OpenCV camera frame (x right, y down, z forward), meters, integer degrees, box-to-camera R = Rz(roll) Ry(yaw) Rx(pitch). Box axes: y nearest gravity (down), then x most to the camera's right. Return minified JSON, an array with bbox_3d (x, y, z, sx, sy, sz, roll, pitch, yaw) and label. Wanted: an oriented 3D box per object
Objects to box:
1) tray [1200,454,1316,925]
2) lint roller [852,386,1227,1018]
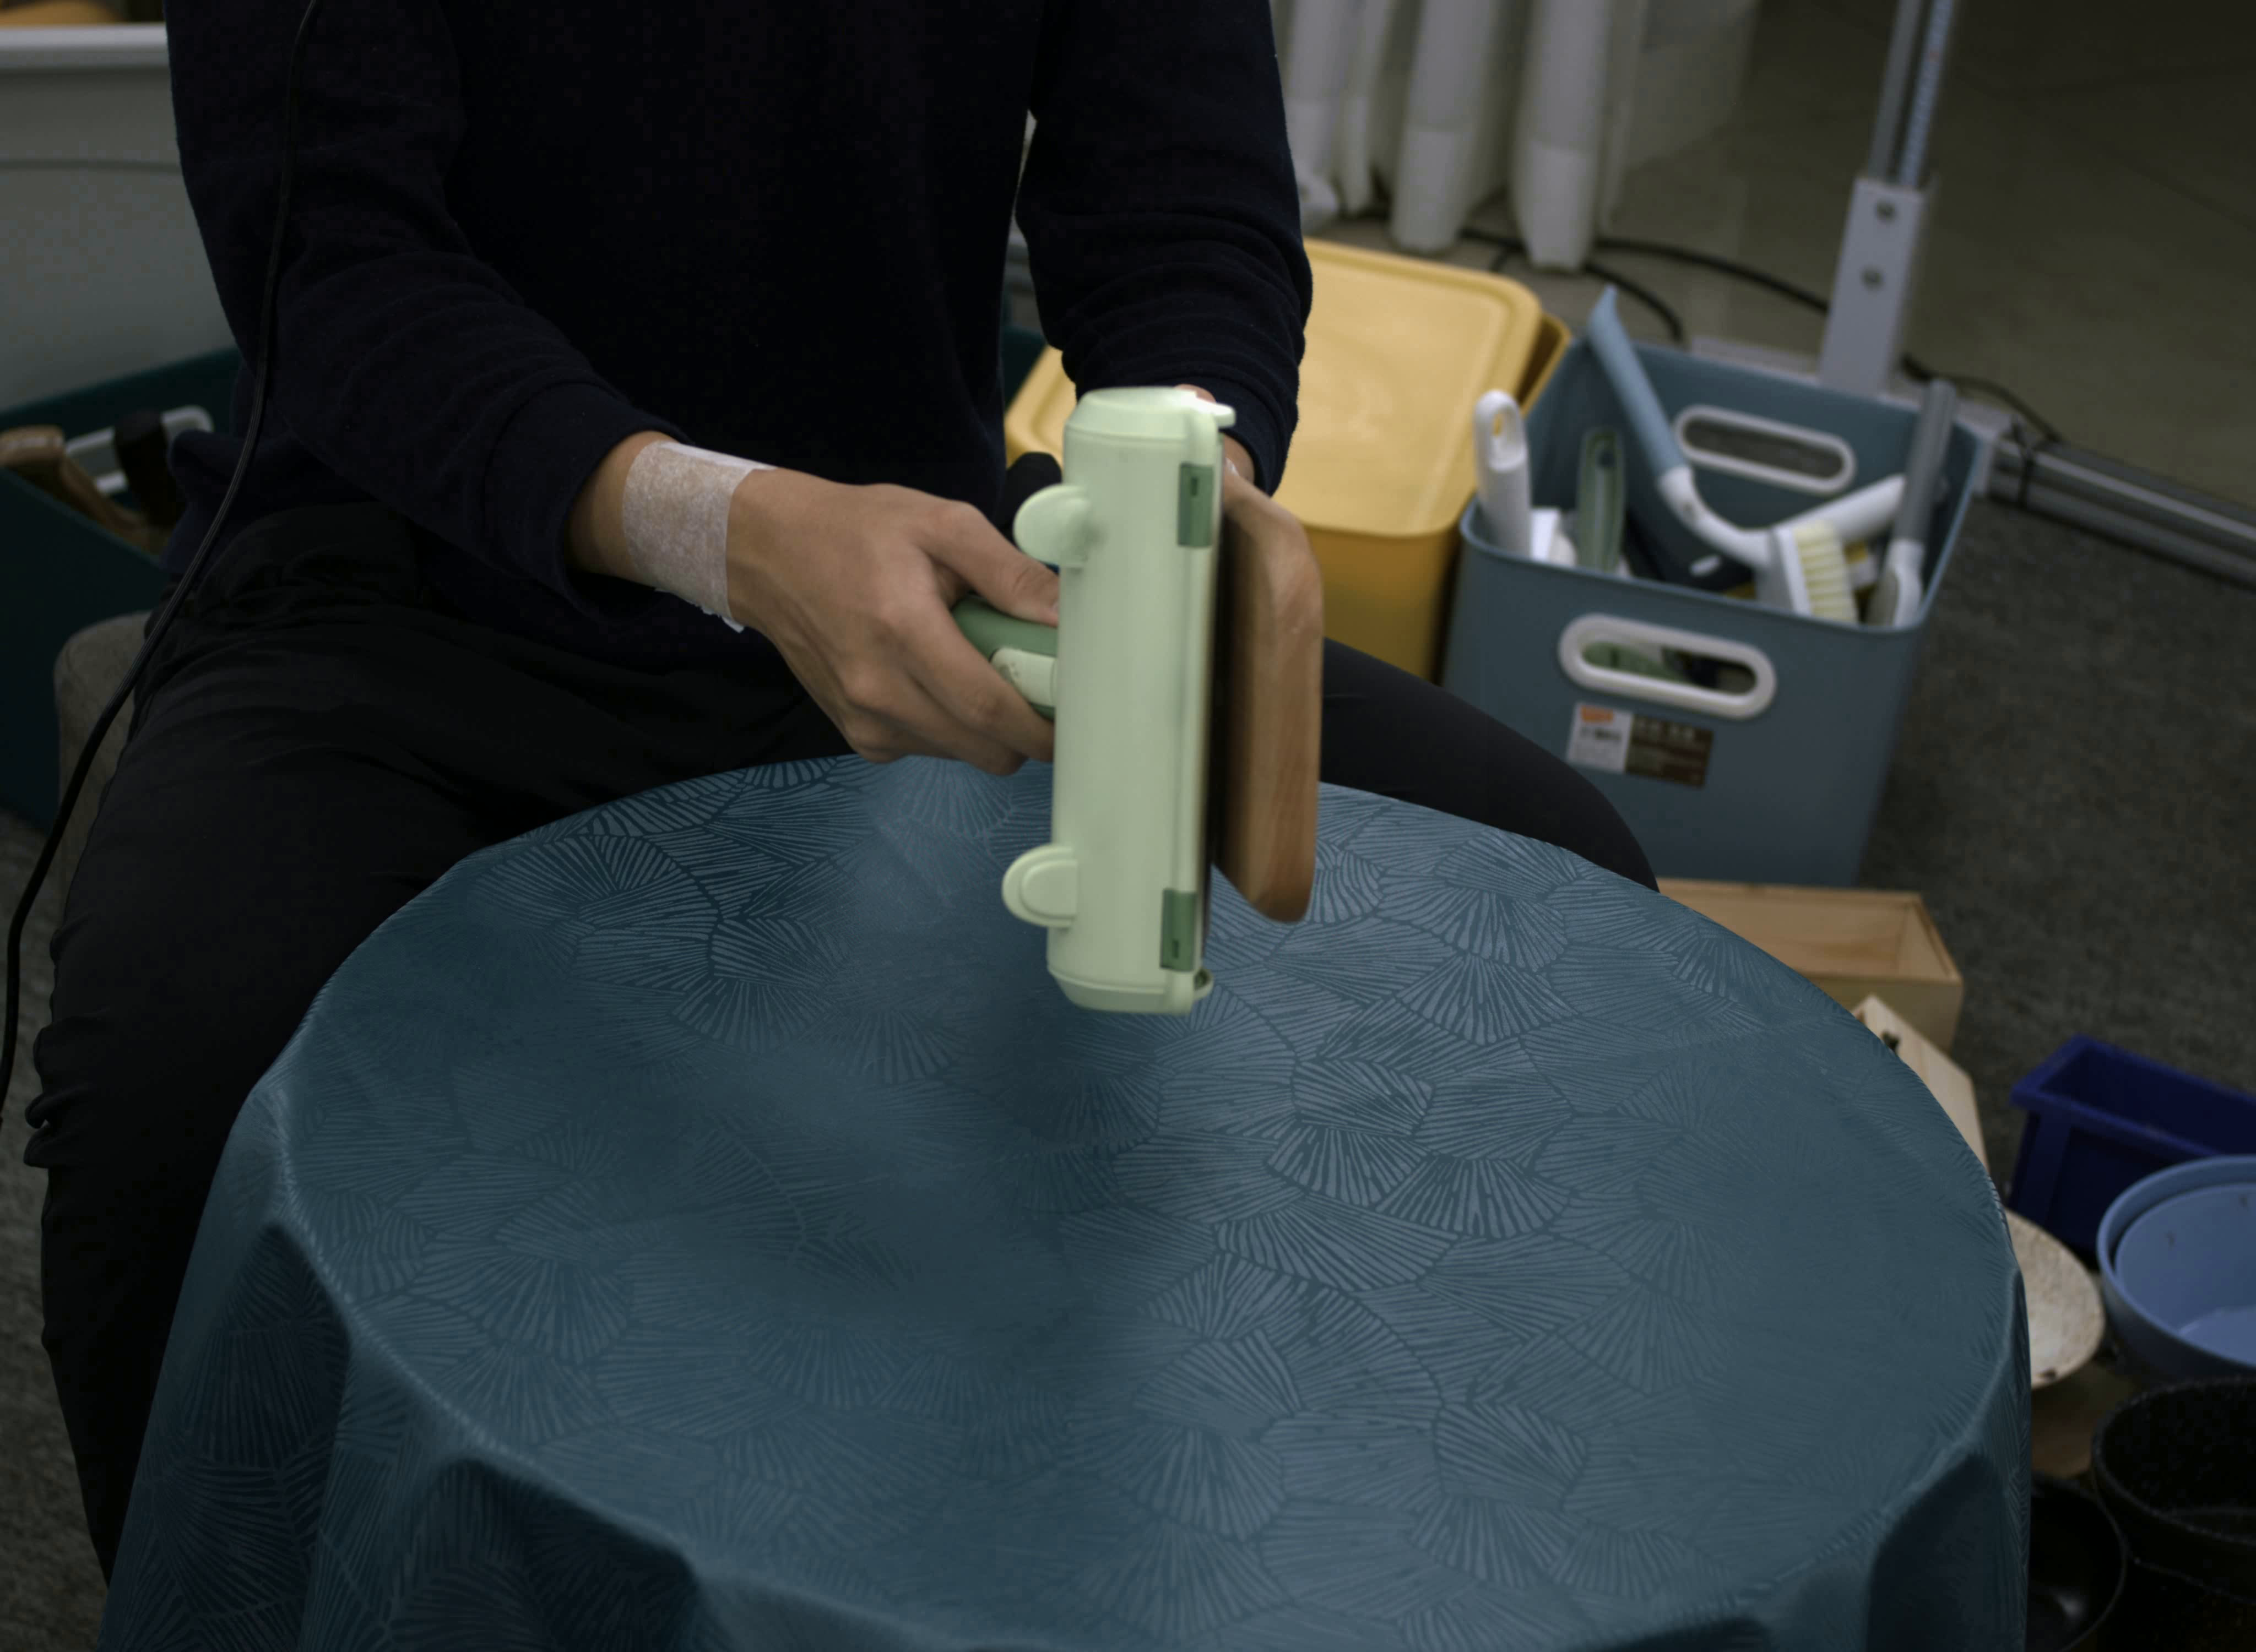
[{"bbox_3d":[0.031,-0.051,1.742,0.023,0.130,0.252,2,10,-10],"label":"tray"},{"bbox_3d":[-0.044,-0.047,1.722,0.184,0.198,0.081,11,13,42],"label":"lint roller"}]
